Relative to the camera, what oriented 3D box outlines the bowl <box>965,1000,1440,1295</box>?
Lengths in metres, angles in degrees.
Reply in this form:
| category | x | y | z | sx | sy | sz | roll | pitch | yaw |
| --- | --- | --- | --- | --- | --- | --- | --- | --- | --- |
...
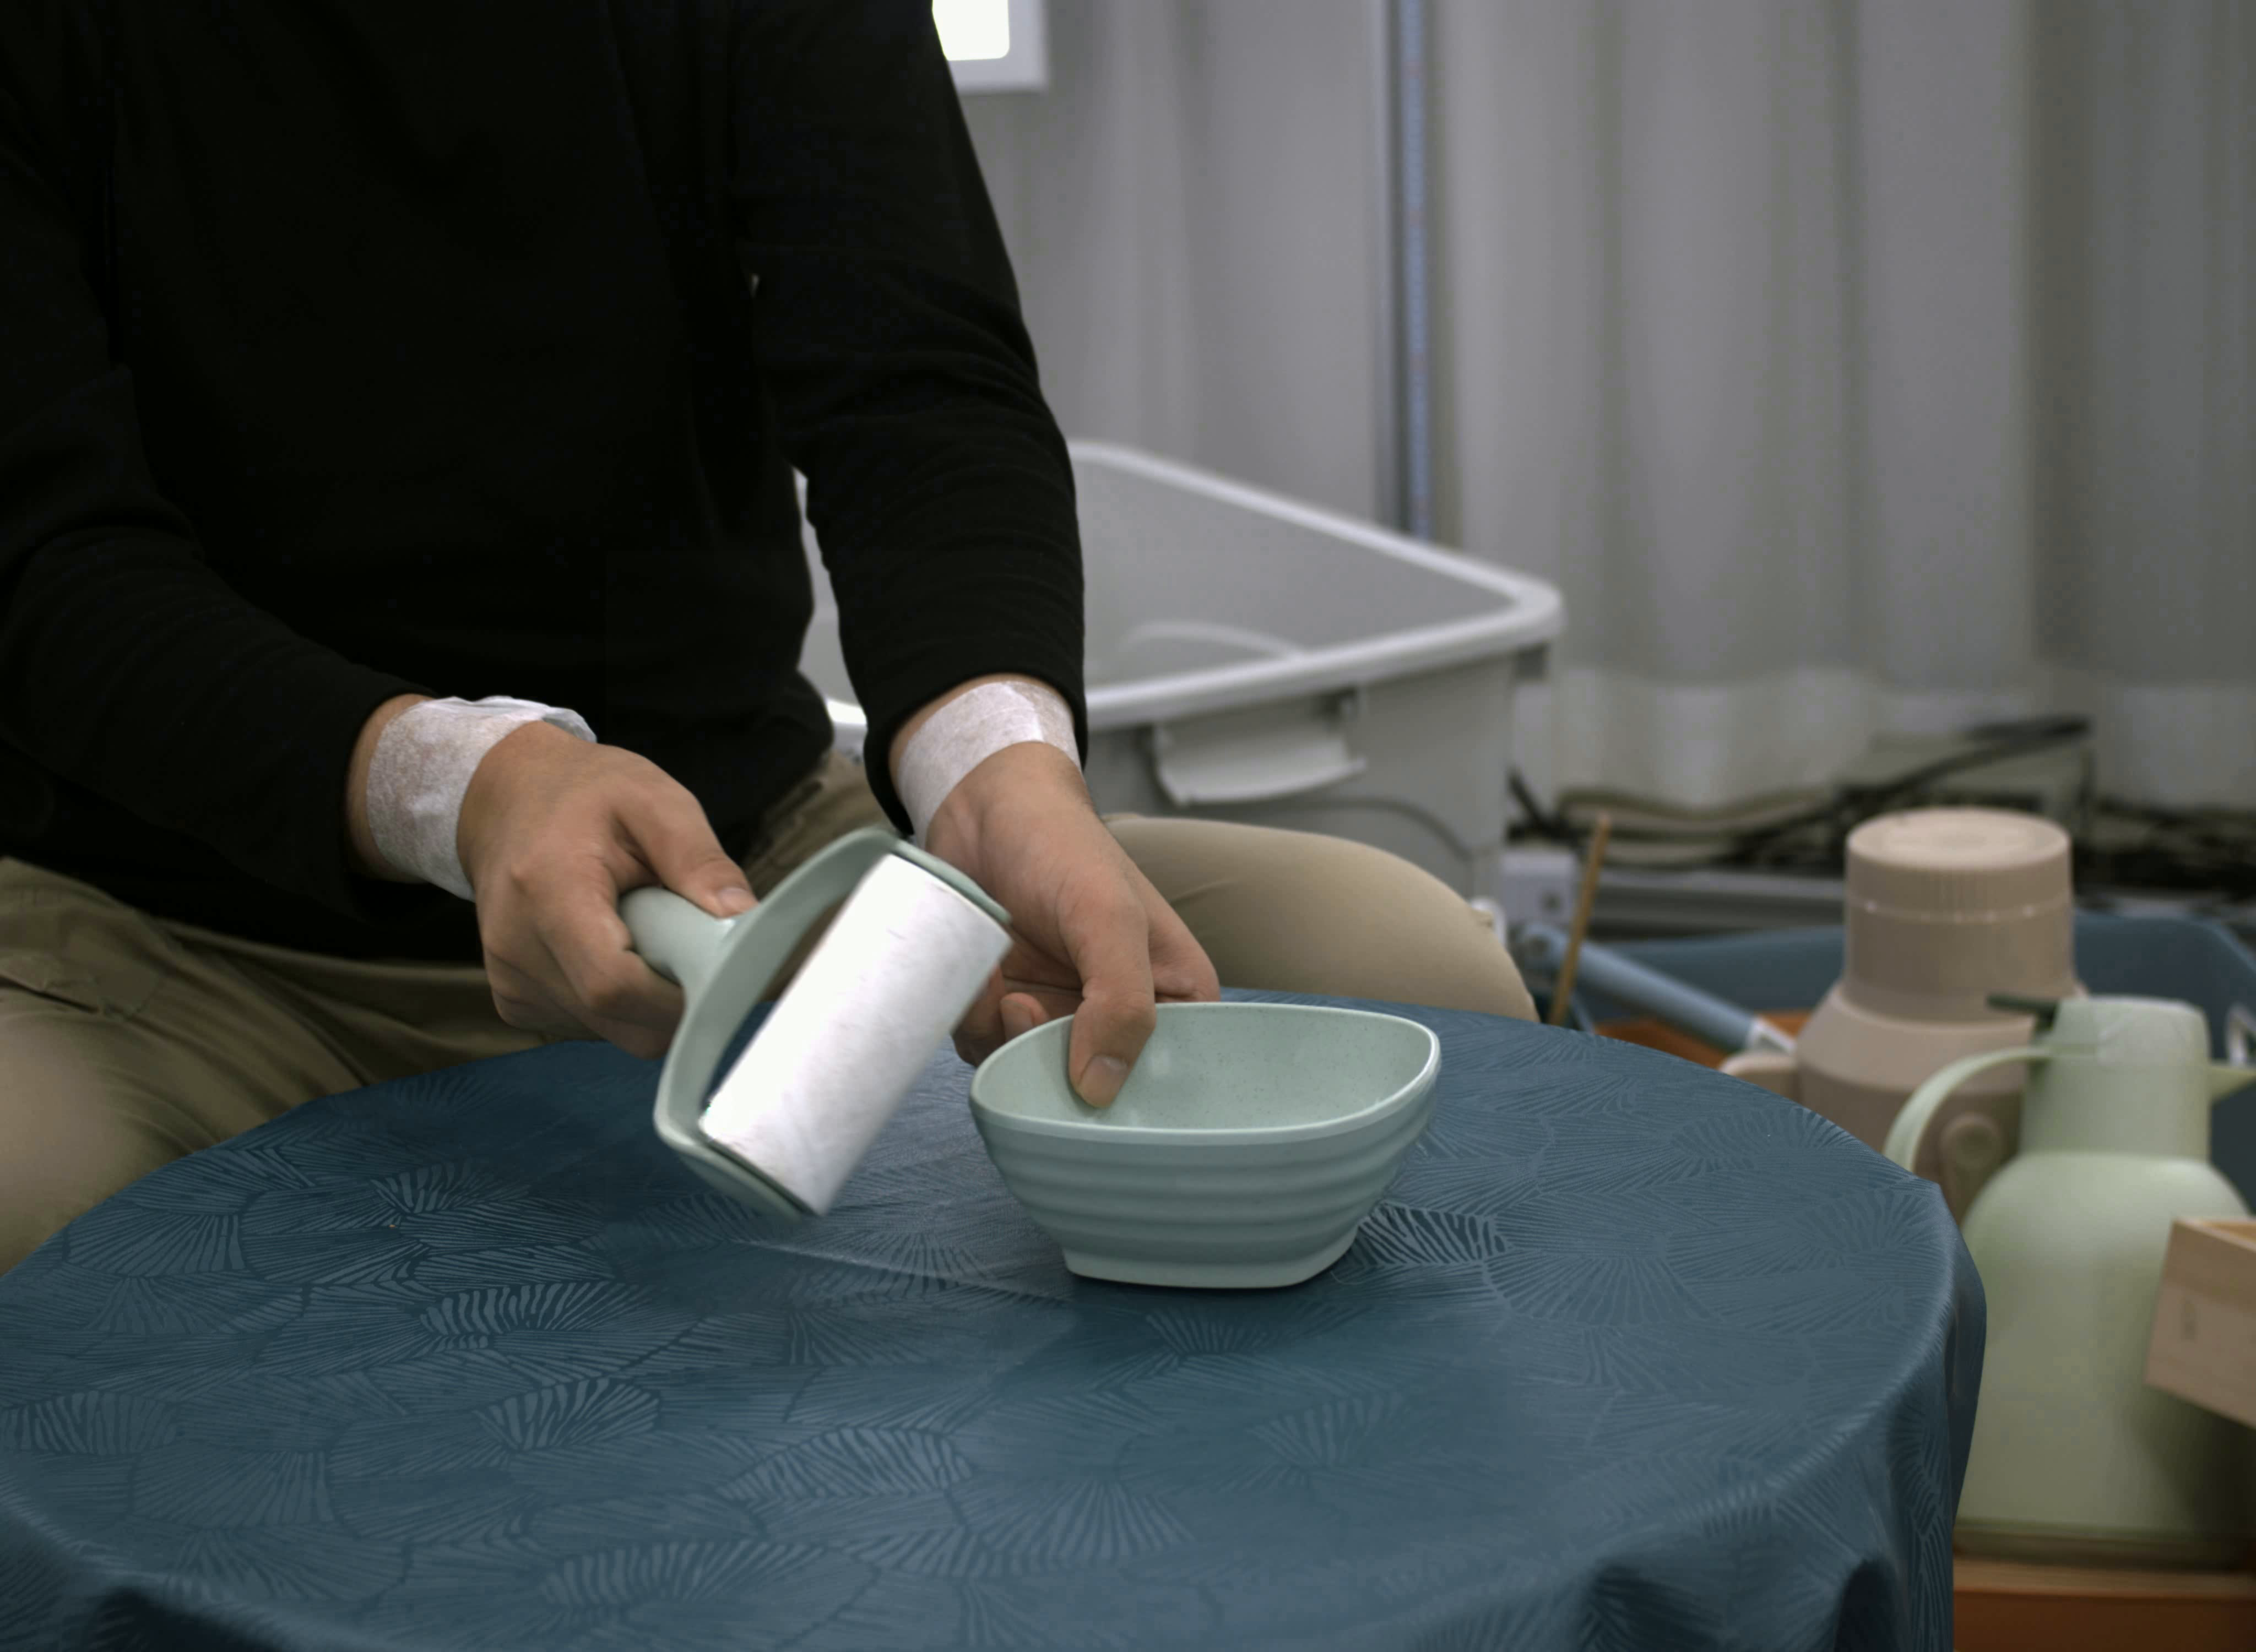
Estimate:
| category | x | y | z | sx | sy | sz | roll | pitch | yaw |
| --- | --- | --- | --- | --- | --- | --- | --- | --- | --- |
| bowl | 0.023 | 0.100 | 1.653 | 0.151 | 0.058 | 0.152 | -1 | 14 | 0 |

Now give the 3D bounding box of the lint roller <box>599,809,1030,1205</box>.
| category | x | y | z | sx | sy | sz | roll | pitch | yaw |
| --- | --- | --- | --- | --- | --- | --- | --- | --- | --- |
| lint roller | -0.115 | 0.040 | 1.662 | 0.048 | 0.117 | 0.199 | 41 | -12 | -35 |
